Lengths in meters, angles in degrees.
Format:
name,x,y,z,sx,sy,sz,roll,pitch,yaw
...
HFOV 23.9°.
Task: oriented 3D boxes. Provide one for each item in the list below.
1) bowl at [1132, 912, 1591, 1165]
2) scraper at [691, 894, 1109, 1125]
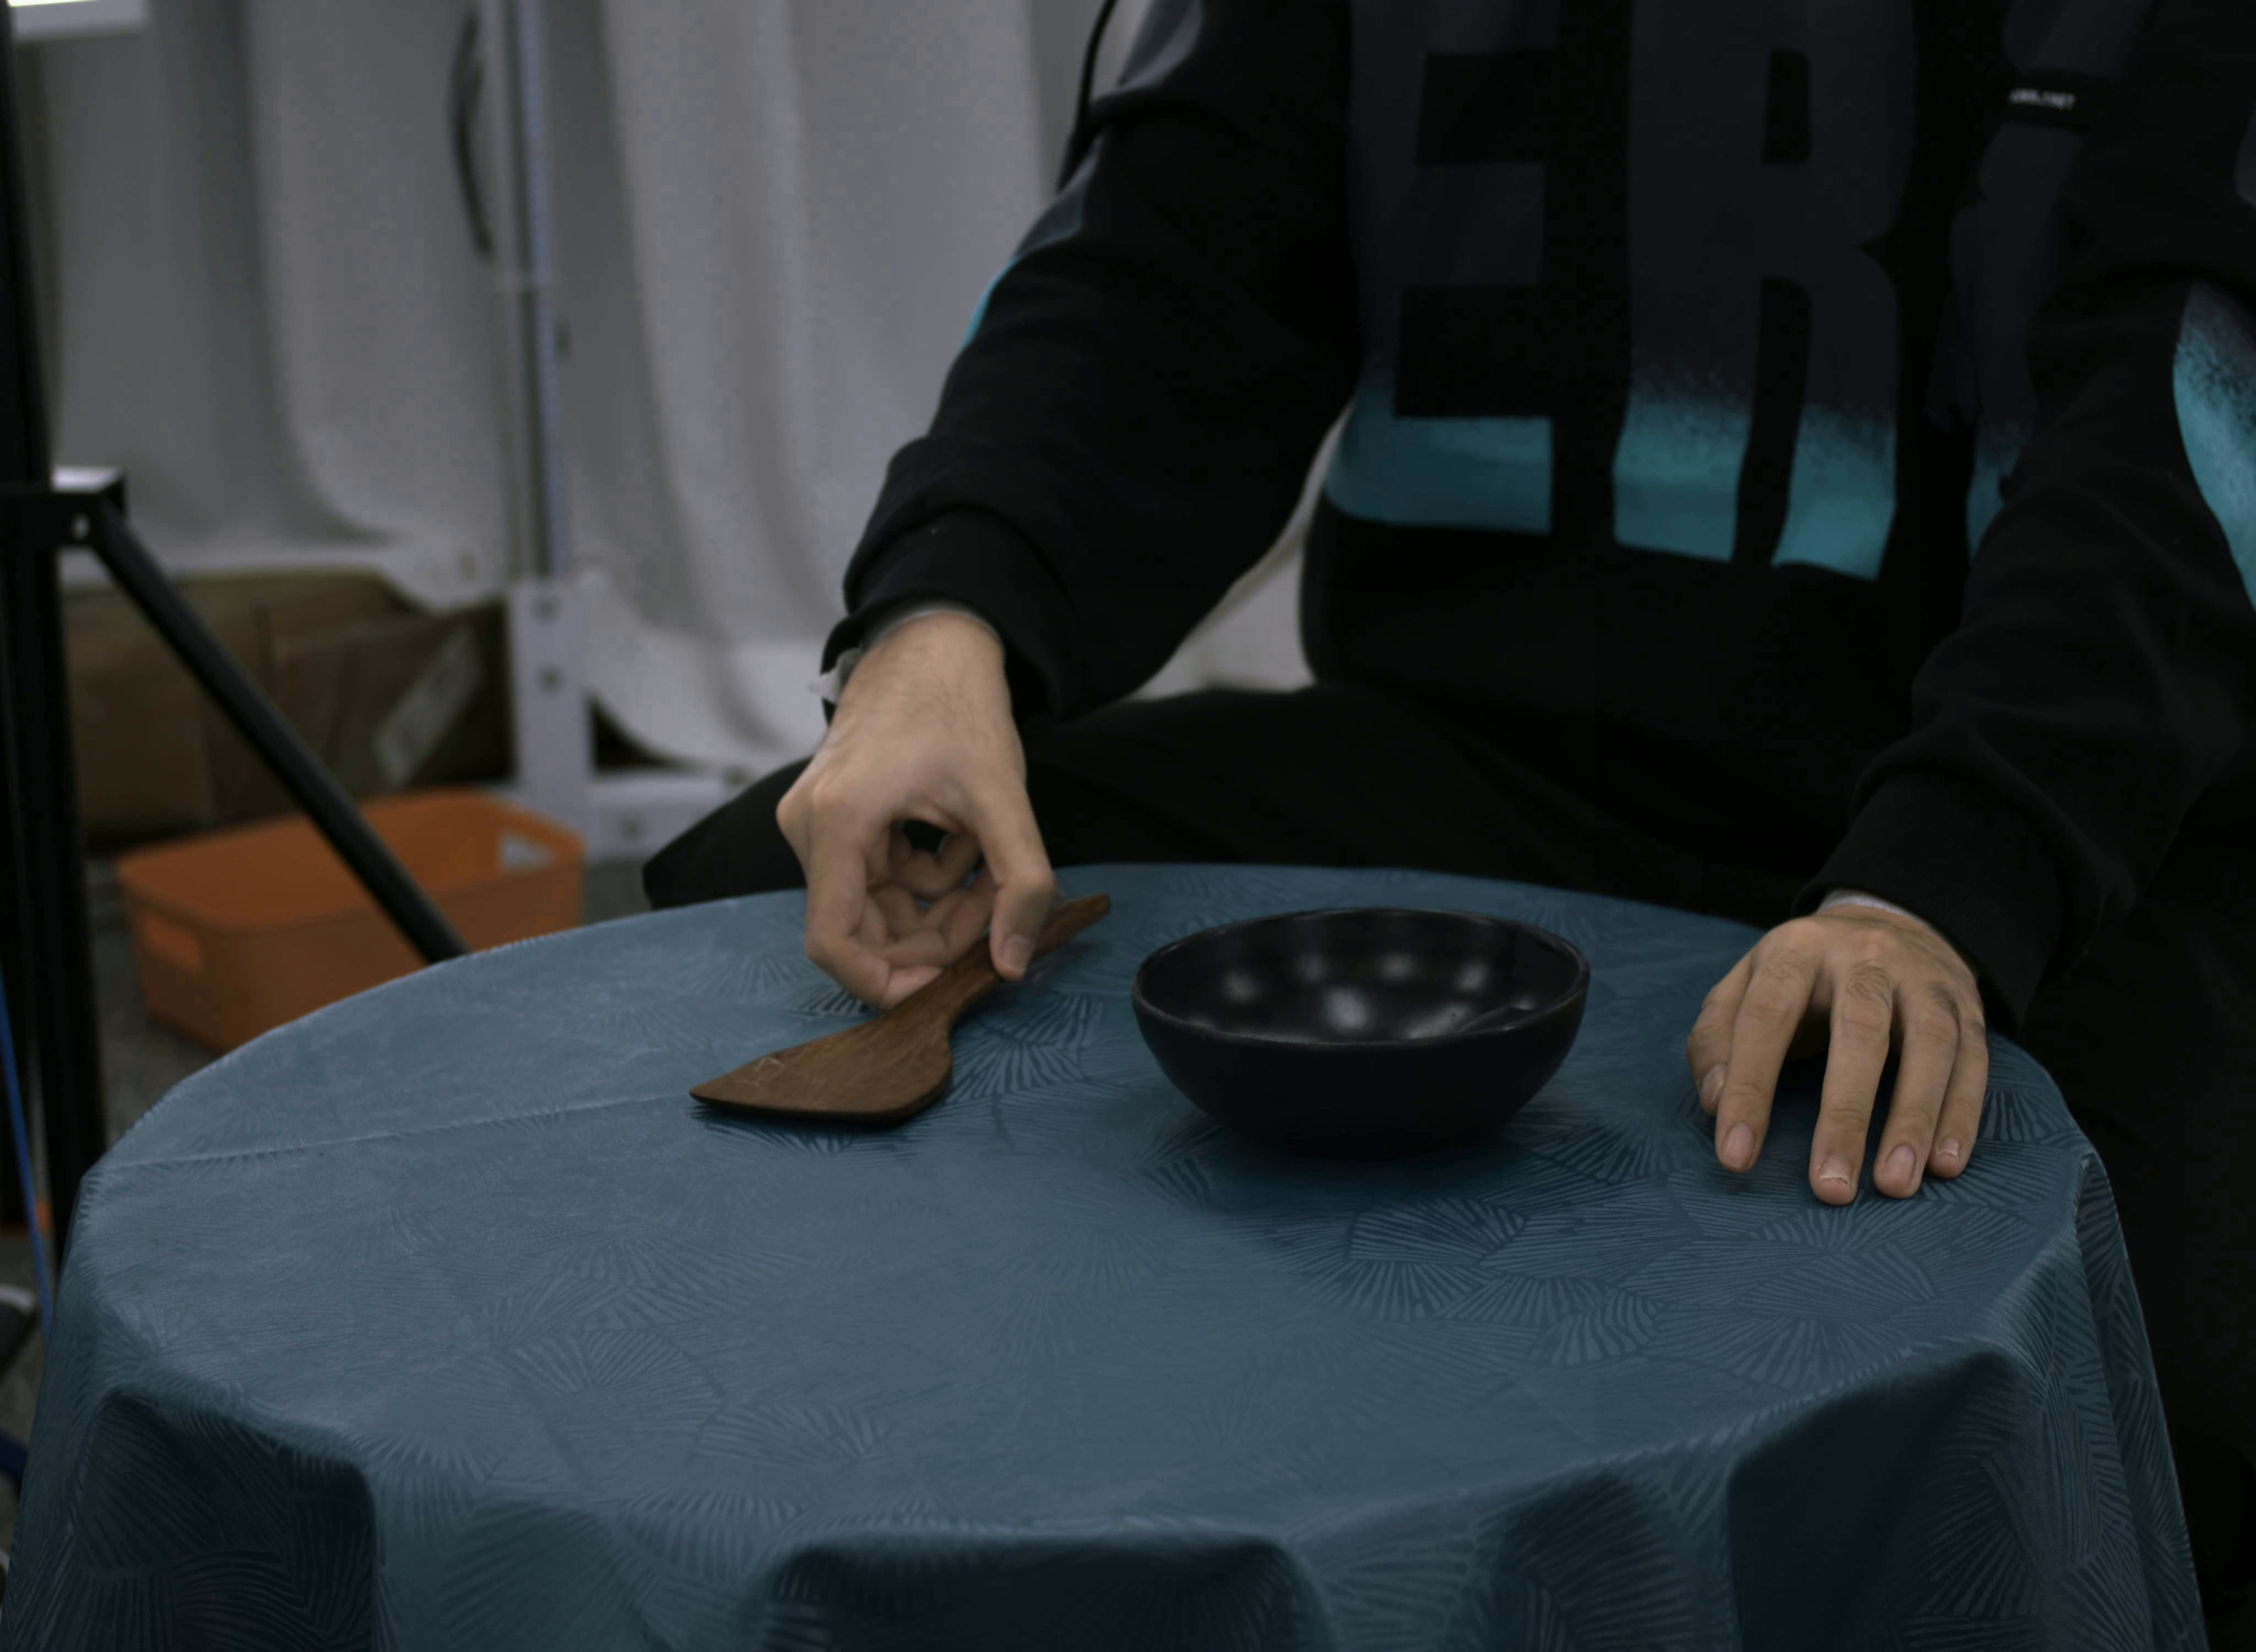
name,x,y,z,sx,sy,sz,roll,pitch,yaw
bowl,0.072,0.068,1.599,0.139,0.050,0.140,-5,14,0
scraper,-0.061,0.058,1.716,0.077,0.011,0.208,5,21,26
